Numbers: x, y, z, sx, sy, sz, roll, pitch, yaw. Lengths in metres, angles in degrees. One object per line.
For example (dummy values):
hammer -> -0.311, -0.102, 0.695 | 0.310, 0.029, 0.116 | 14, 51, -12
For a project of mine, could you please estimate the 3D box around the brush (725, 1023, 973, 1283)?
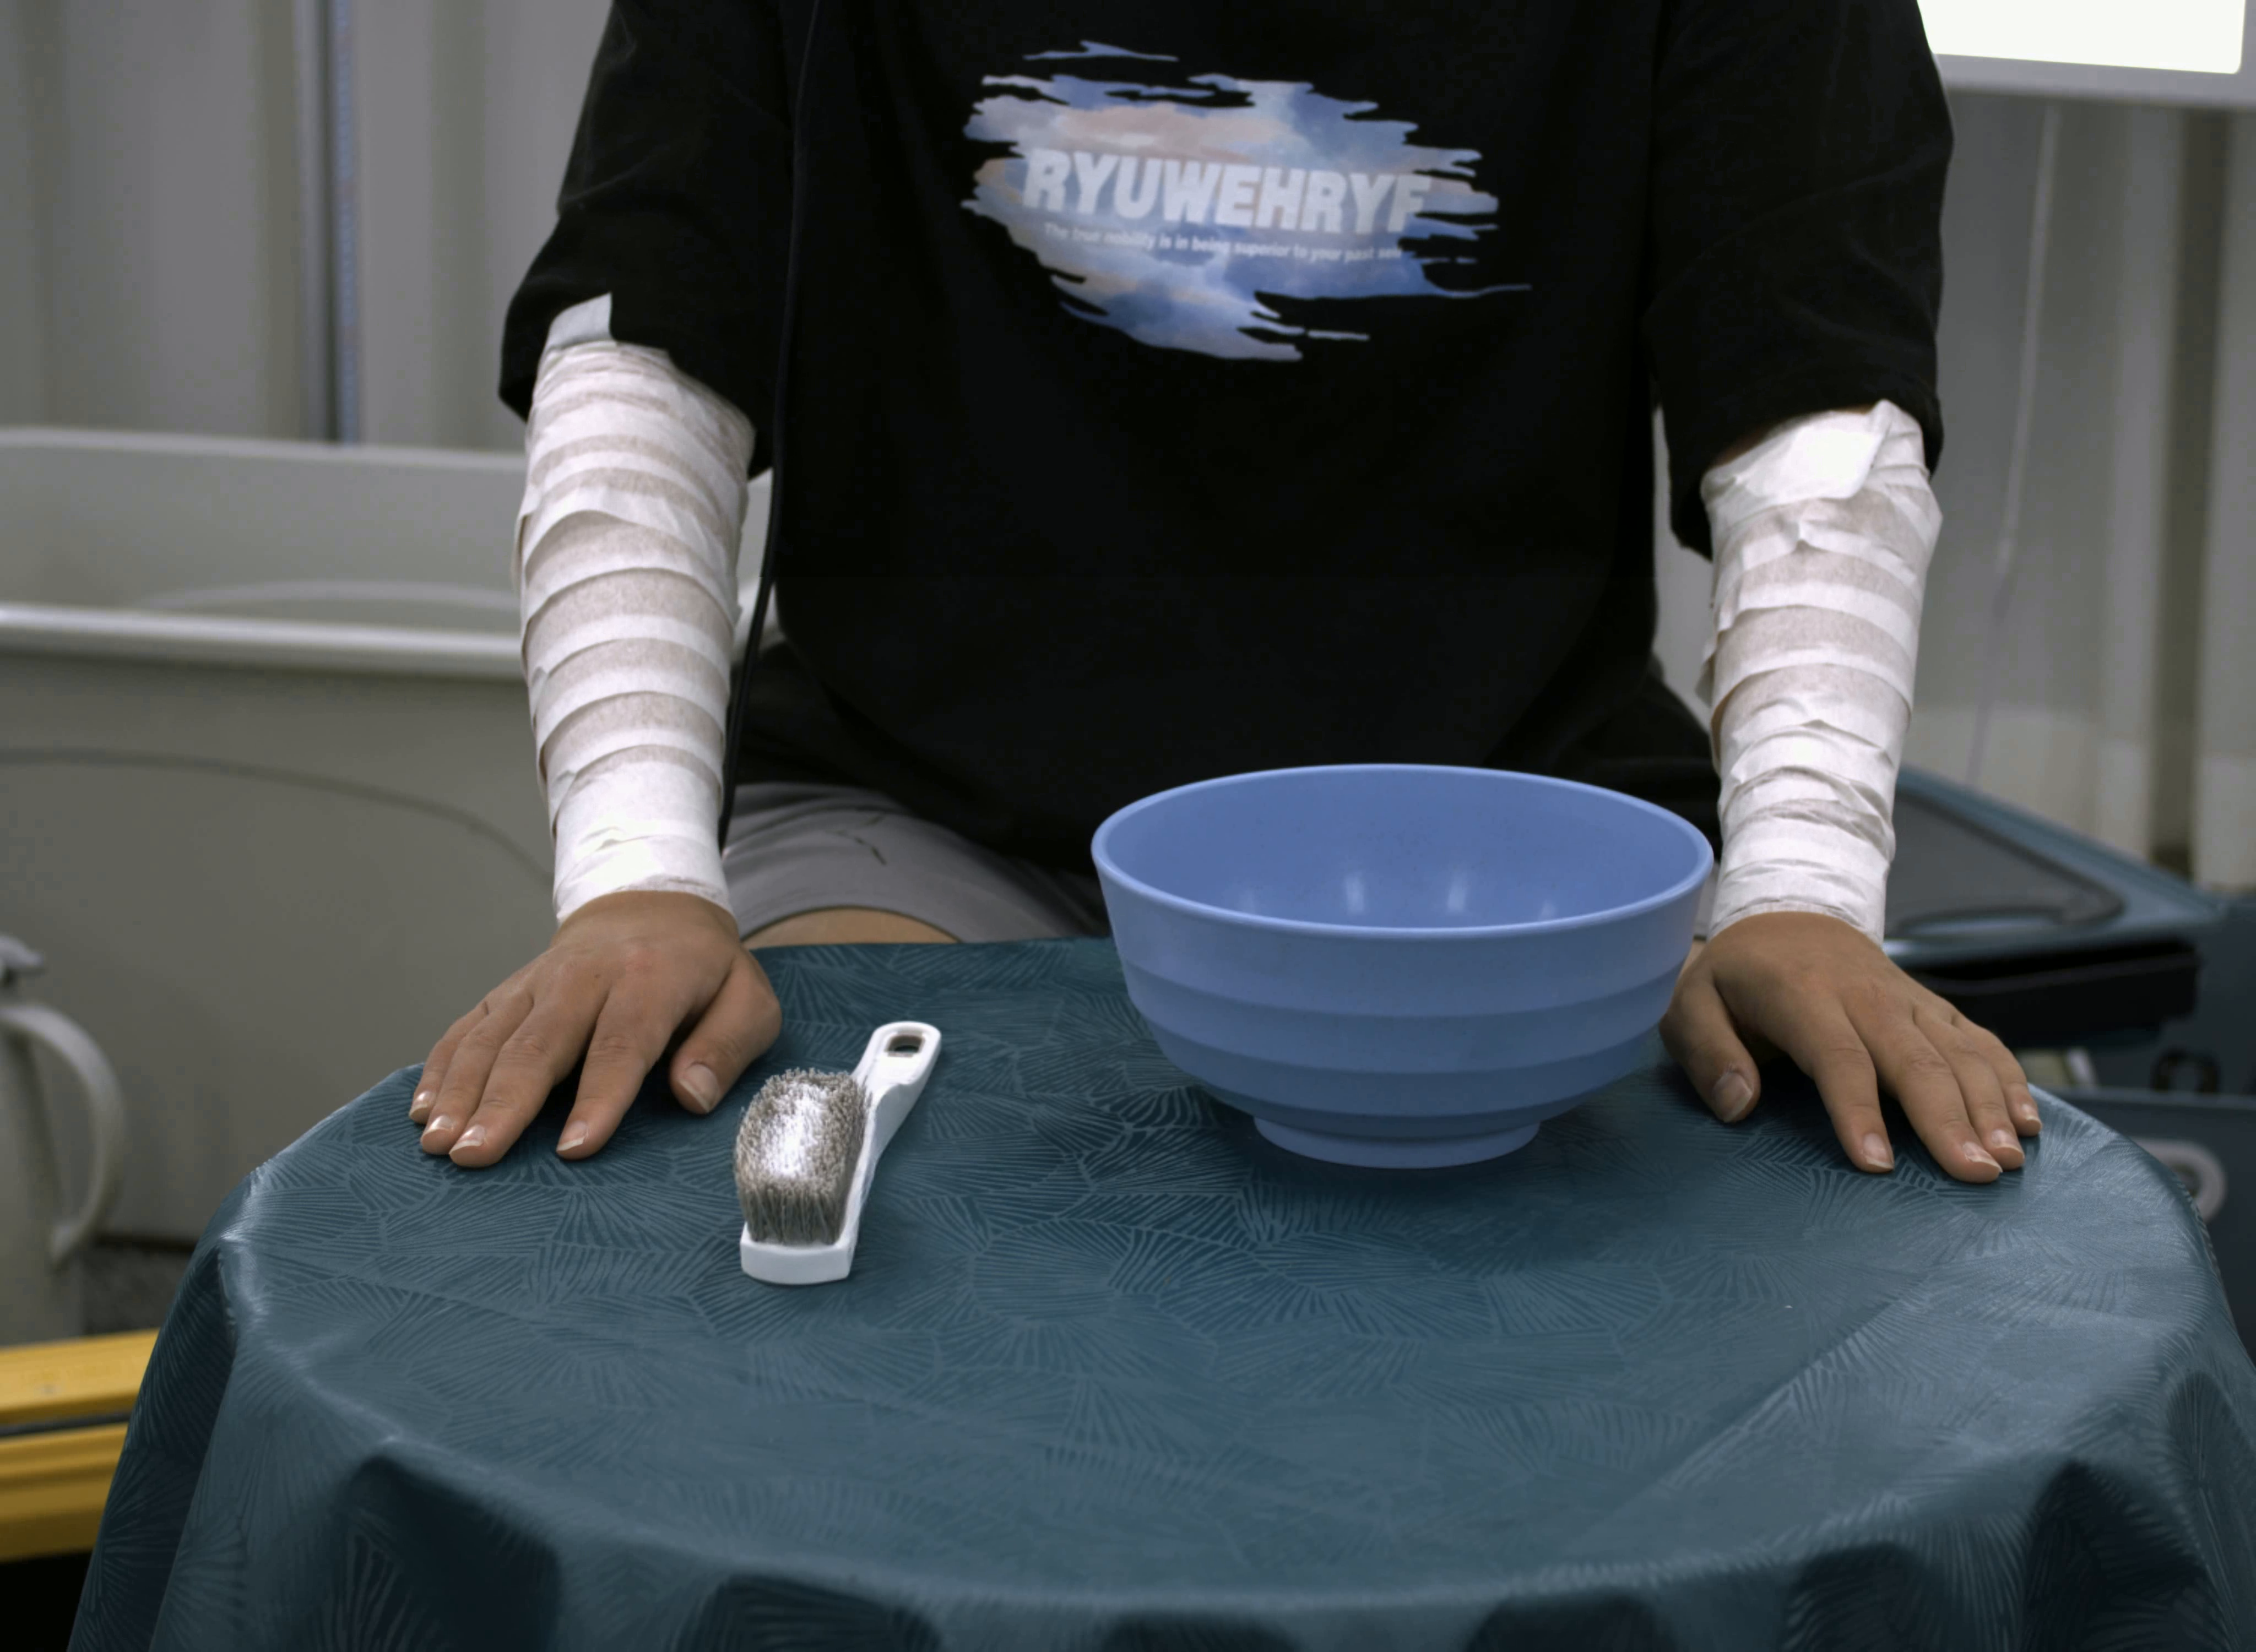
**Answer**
brush -> -0.083, 0.081, 1.638 | 0.034, 0.050, 0.243 | 0, 15, 10

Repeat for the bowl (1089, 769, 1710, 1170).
bowl -> 0.086, 0.050, 1.676 | 0.196, 0.096, 0.195 | 0, 15, 1
